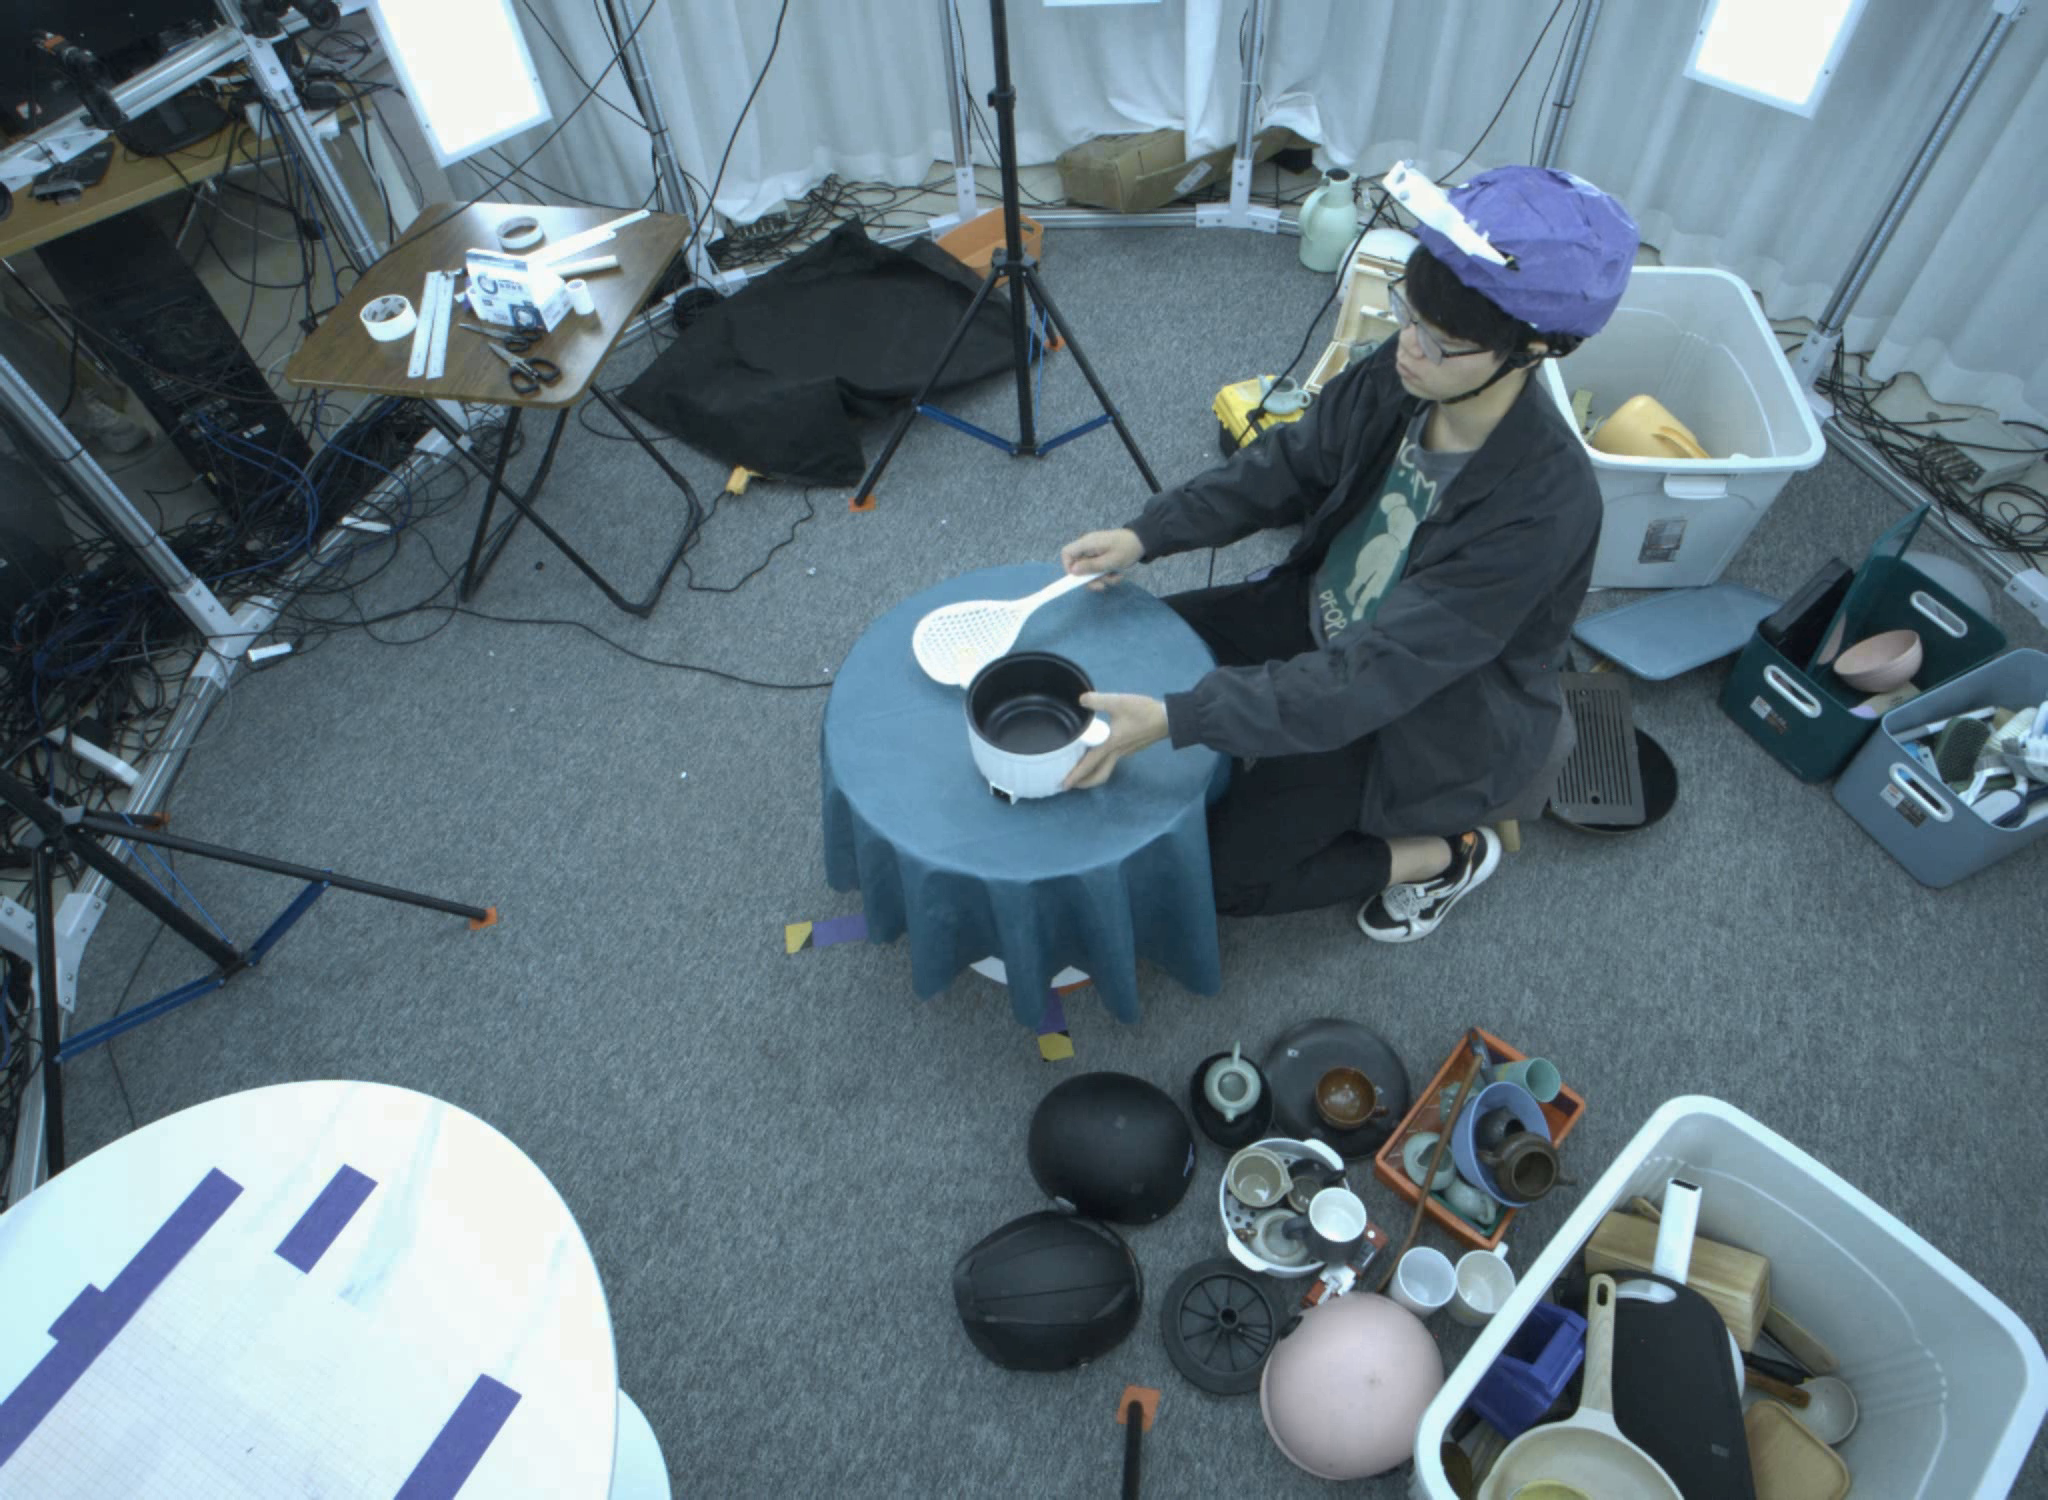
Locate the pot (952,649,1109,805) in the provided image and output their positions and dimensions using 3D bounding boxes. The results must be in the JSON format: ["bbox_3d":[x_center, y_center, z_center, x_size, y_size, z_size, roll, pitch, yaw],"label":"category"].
[{"bbox_3d":[0.012,-0.033,1.716,0.237,0.144,0.191,25,63,17],"label":"pot"}]

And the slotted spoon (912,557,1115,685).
[{"bbox_3d":[-0.006,-0.209,1.870,0.349,0.051,0.135,-32,67,-7],"label":"slotted spoon"}]
